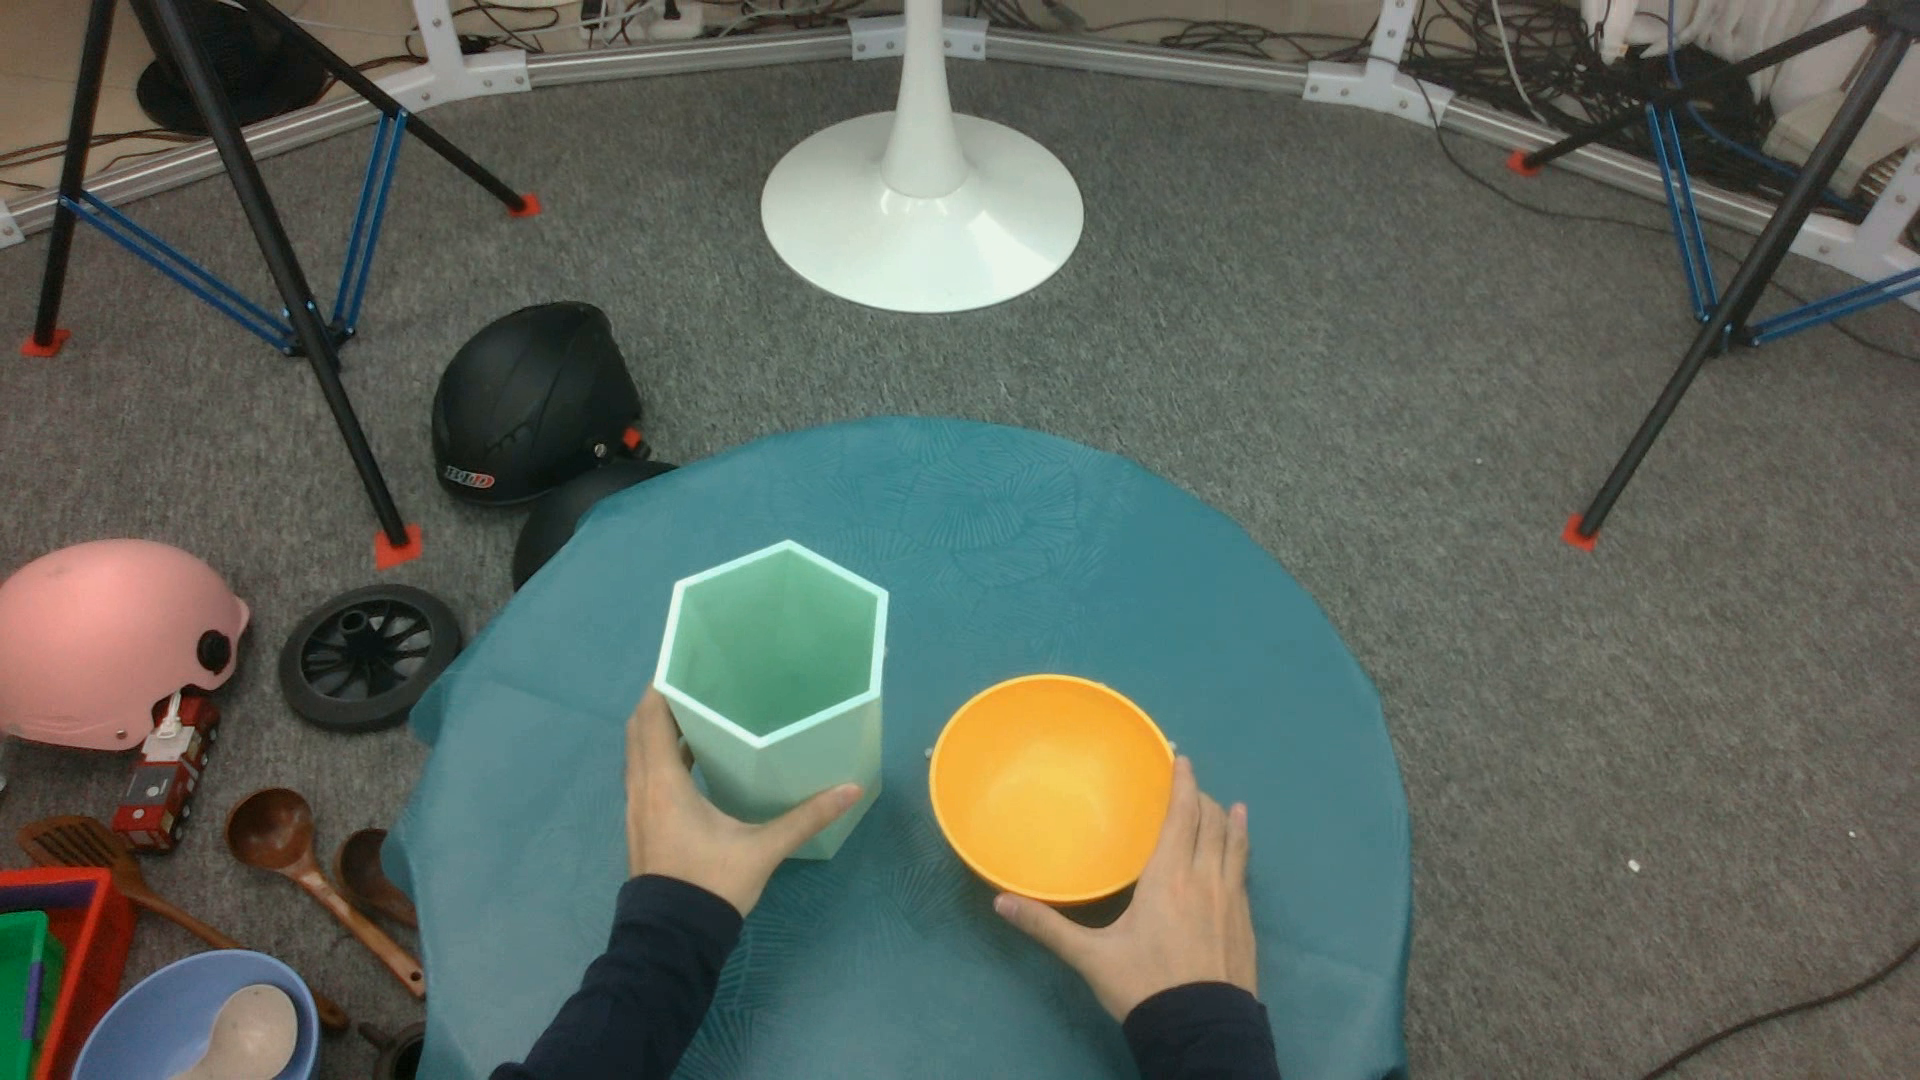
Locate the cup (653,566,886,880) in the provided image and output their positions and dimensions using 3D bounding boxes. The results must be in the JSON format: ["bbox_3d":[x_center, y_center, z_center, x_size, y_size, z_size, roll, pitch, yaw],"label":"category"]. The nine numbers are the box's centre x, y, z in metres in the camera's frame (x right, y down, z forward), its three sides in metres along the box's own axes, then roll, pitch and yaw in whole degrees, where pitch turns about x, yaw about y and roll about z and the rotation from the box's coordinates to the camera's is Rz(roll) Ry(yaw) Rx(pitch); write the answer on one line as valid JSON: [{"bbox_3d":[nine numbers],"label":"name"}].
[{"bbox_3d":[-0.099,0.114,0.786,0.131,0.162,0.116,22,54,18],"label":"cup"}]

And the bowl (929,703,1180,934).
[{"bbox_3d":[0.054,0.173,0.815,0.145,0.060,0.146,0,52,0],"label":"bowl"}]
